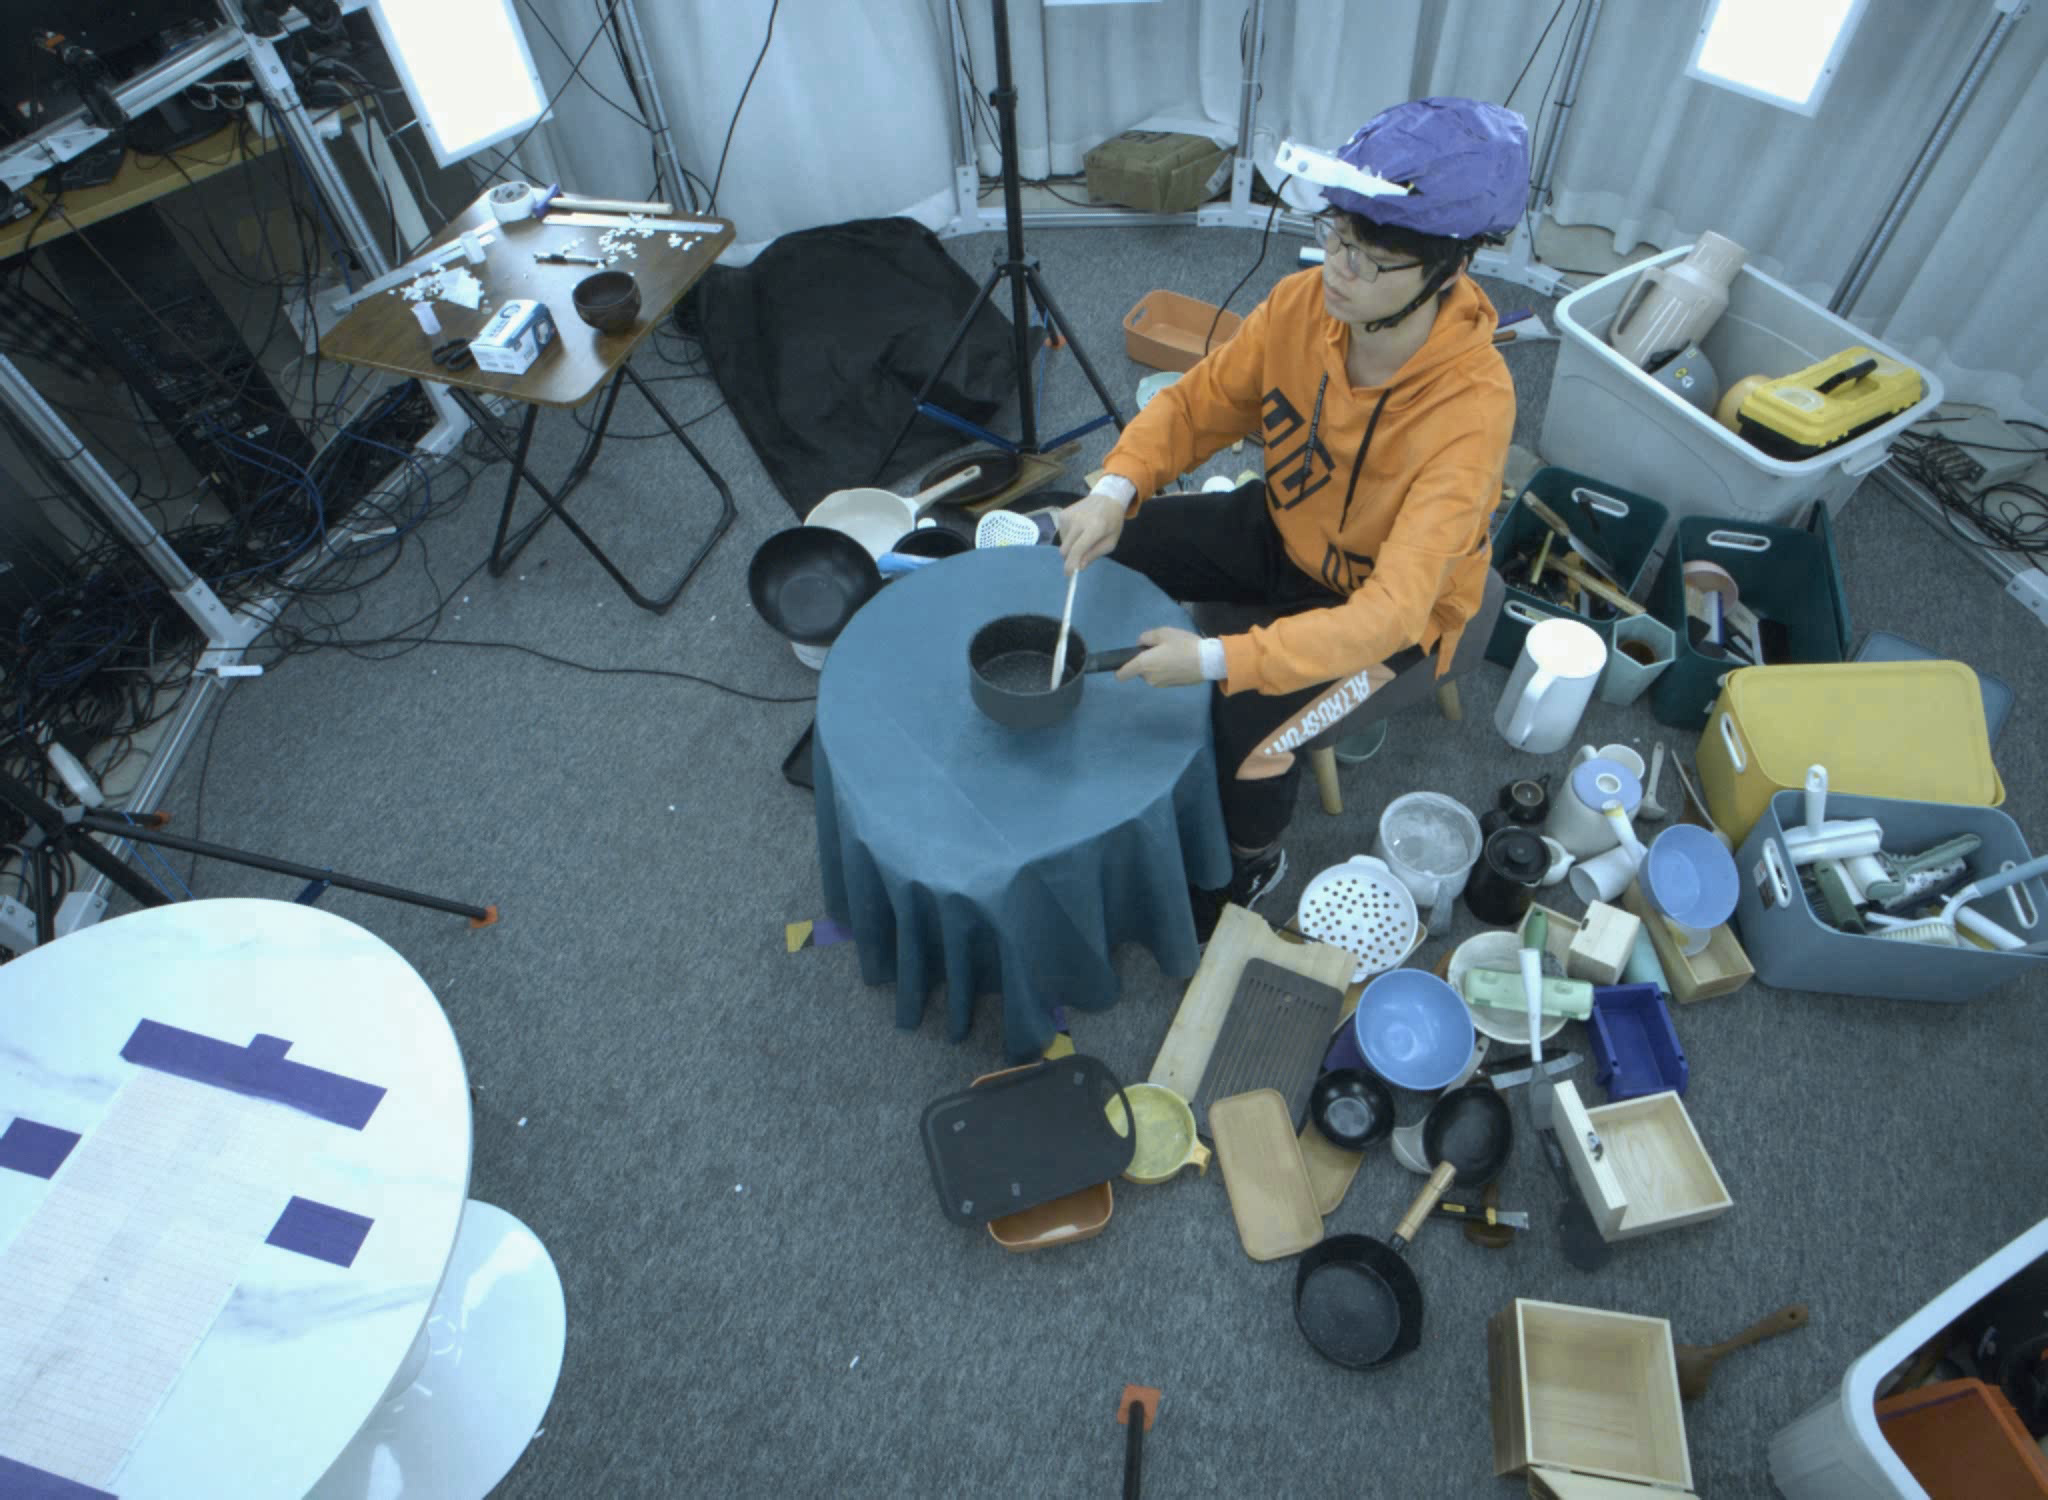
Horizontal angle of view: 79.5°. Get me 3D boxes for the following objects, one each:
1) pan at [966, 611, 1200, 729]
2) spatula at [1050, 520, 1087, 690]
[{"bbox_3d":[0.083,-0.114,1.746,0.329,0.087,0.170,0,50,-2],"label":"pan"},{"bbox_3d":[0.064,-0.213,1.740,0.011,0.072,0.291,12,59,-1],"label":"spatula"}]
